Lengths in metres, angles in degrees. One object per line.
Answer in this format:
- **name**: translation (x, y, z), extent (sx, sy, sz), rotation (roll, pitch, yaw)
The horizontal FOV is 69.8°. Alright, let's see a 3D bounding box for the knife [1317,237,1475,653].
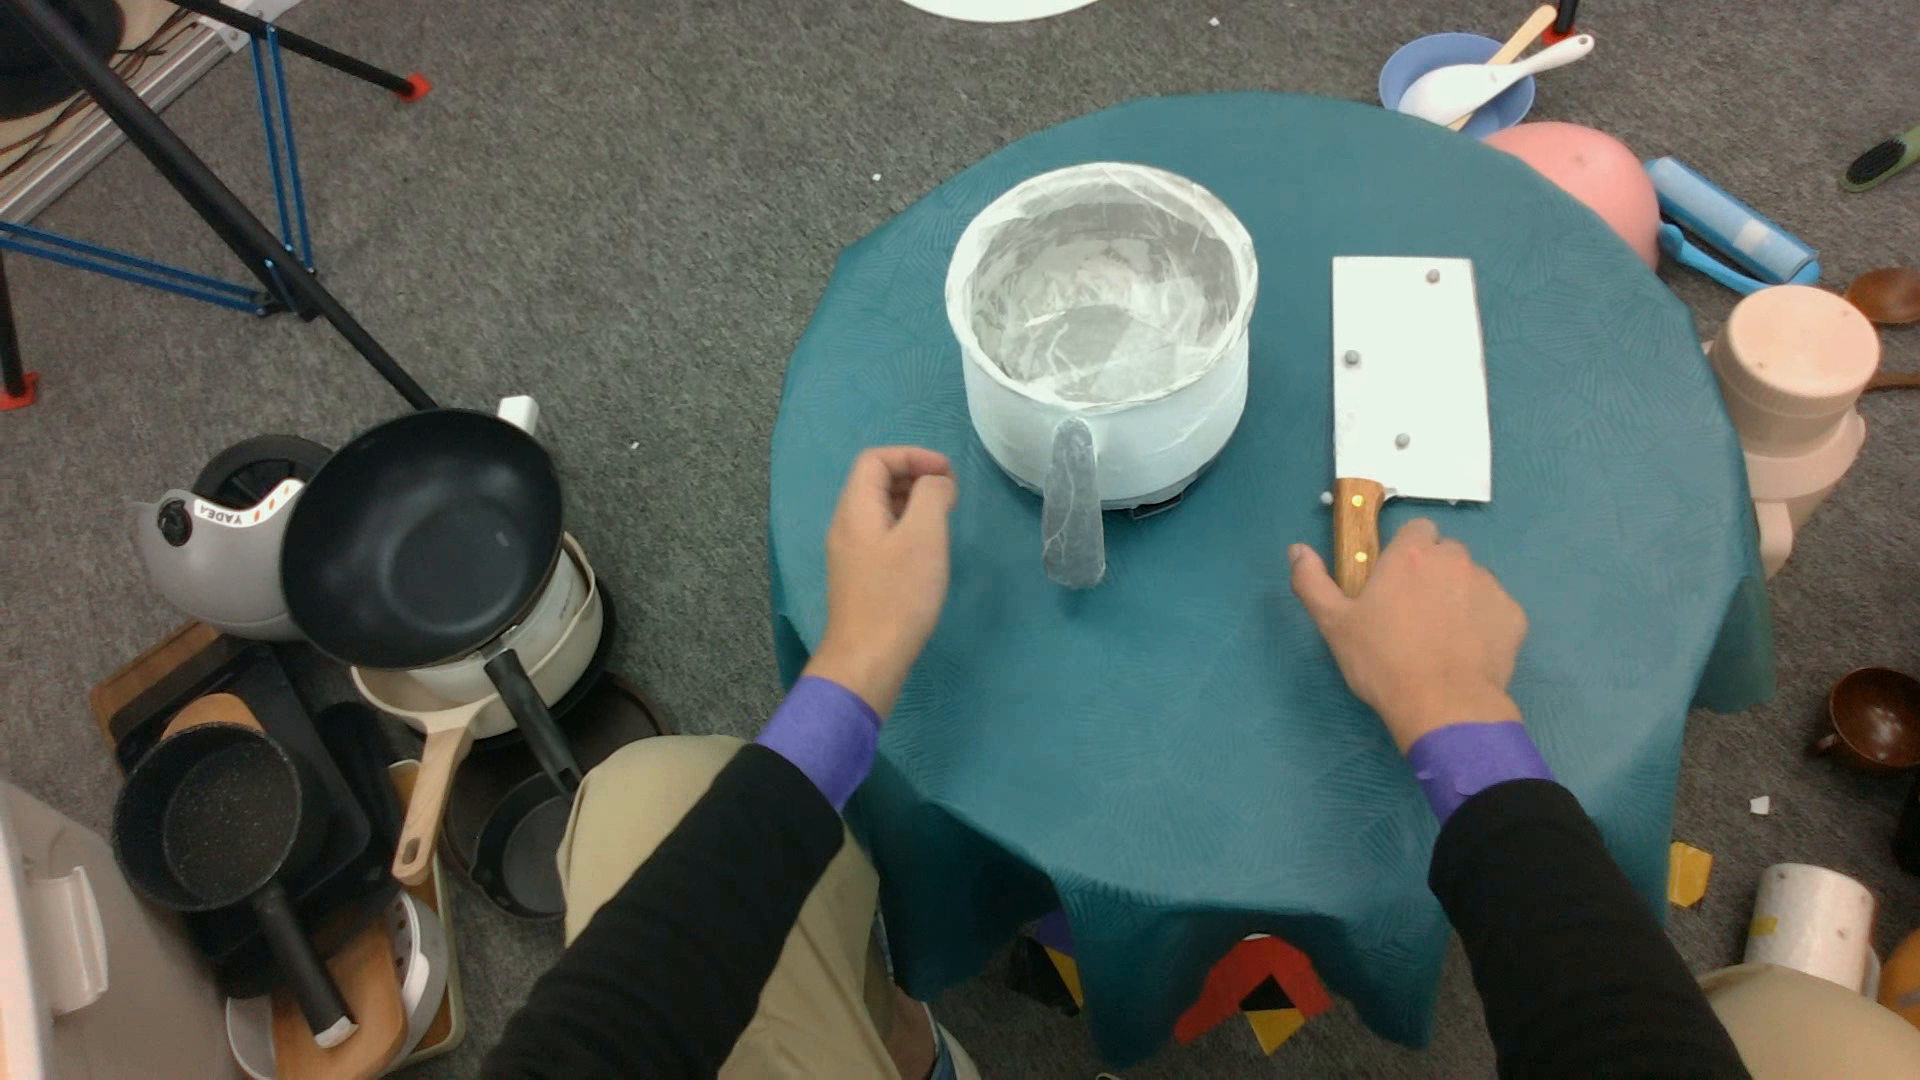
- **knife**: translation (0.268, -0.070, 0.849), extent (0.093, 0.021, 0.307), rotation (2, 61, 10)

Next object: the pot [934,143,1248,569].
- **pot**: translation (0.076, -0.105, 0.821), extent (0.178, 0.136, 0.234), rotation (4, 61, 11)
